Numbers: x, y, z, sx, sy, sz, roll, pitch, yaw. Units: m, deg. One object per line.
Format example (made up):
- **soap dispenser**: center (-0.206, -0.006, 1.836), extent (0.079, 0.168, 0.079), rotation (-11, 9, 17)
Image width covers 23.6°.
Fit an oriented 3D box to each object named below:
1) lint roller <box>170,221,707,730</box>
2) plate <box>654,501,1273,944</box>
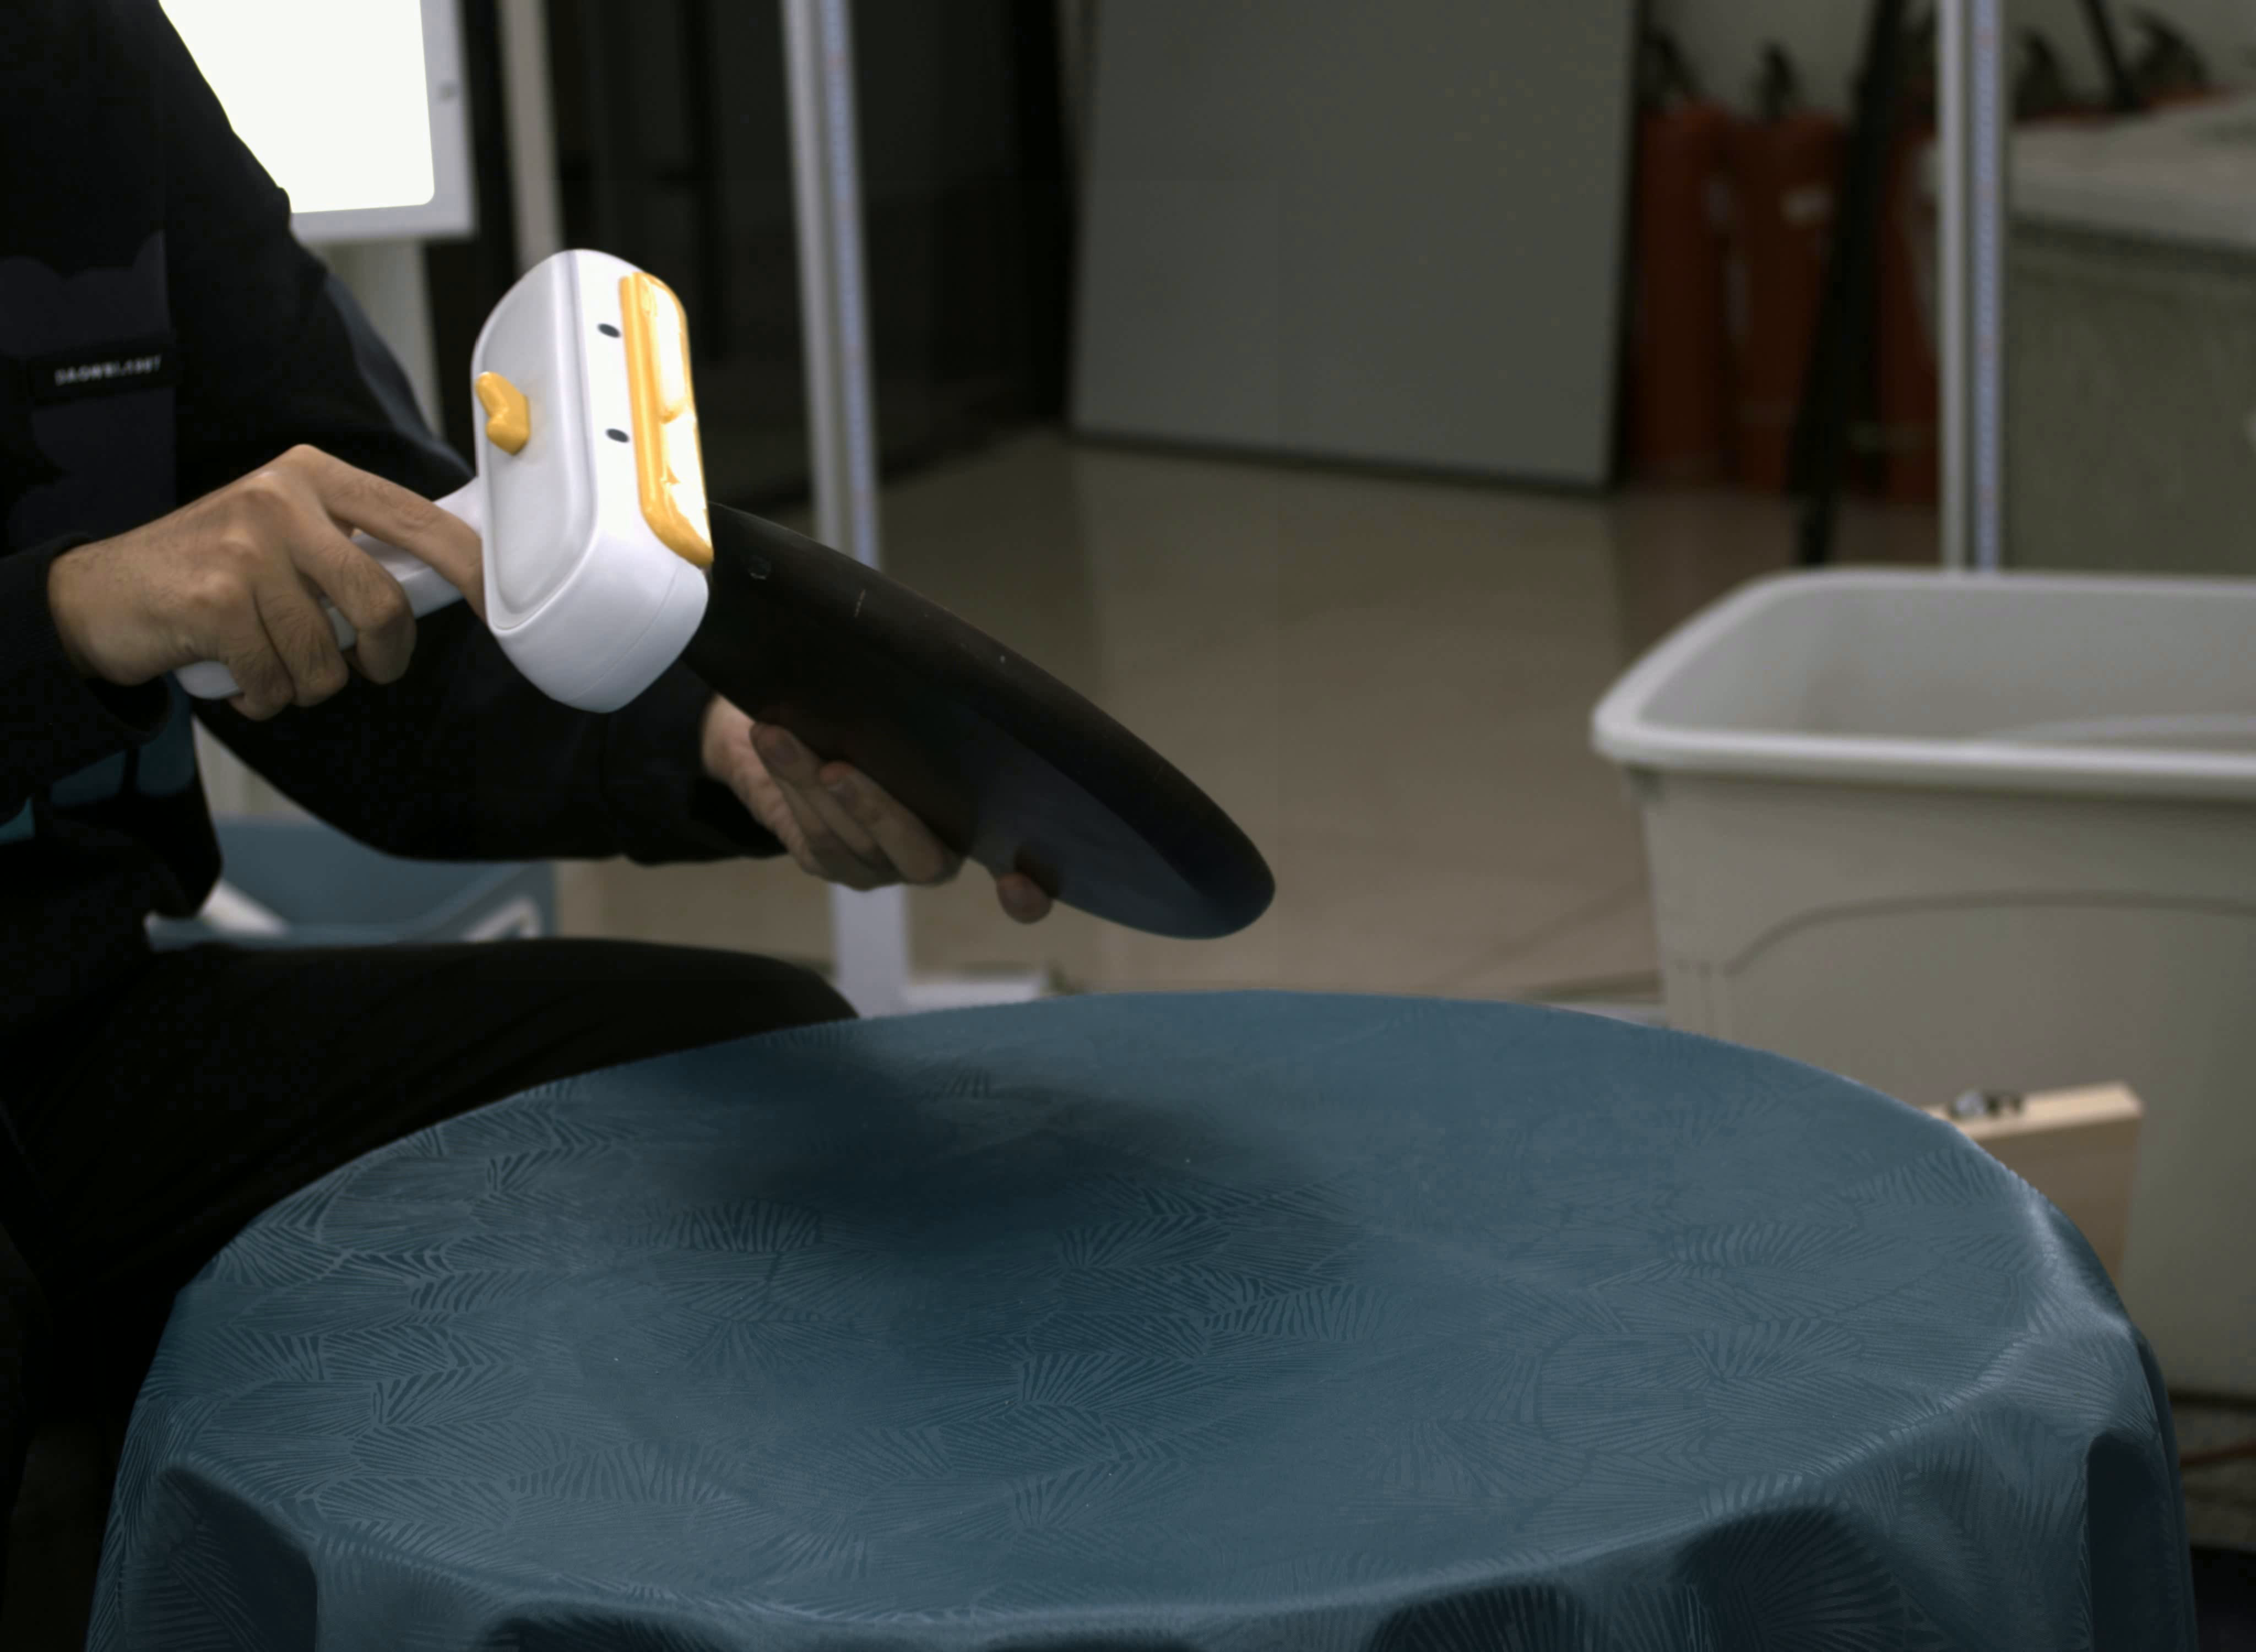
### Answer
- **lint roller**: center (-0.223, -0.090, 1.746), extent (0.193, 0.073, 0.195), rotation (-38, 40, 17)
- **plate**: center (-0.064, -0.032, 1.794), extent (0.254, 0.029, 0.255), rotation (29, -13, 6)
